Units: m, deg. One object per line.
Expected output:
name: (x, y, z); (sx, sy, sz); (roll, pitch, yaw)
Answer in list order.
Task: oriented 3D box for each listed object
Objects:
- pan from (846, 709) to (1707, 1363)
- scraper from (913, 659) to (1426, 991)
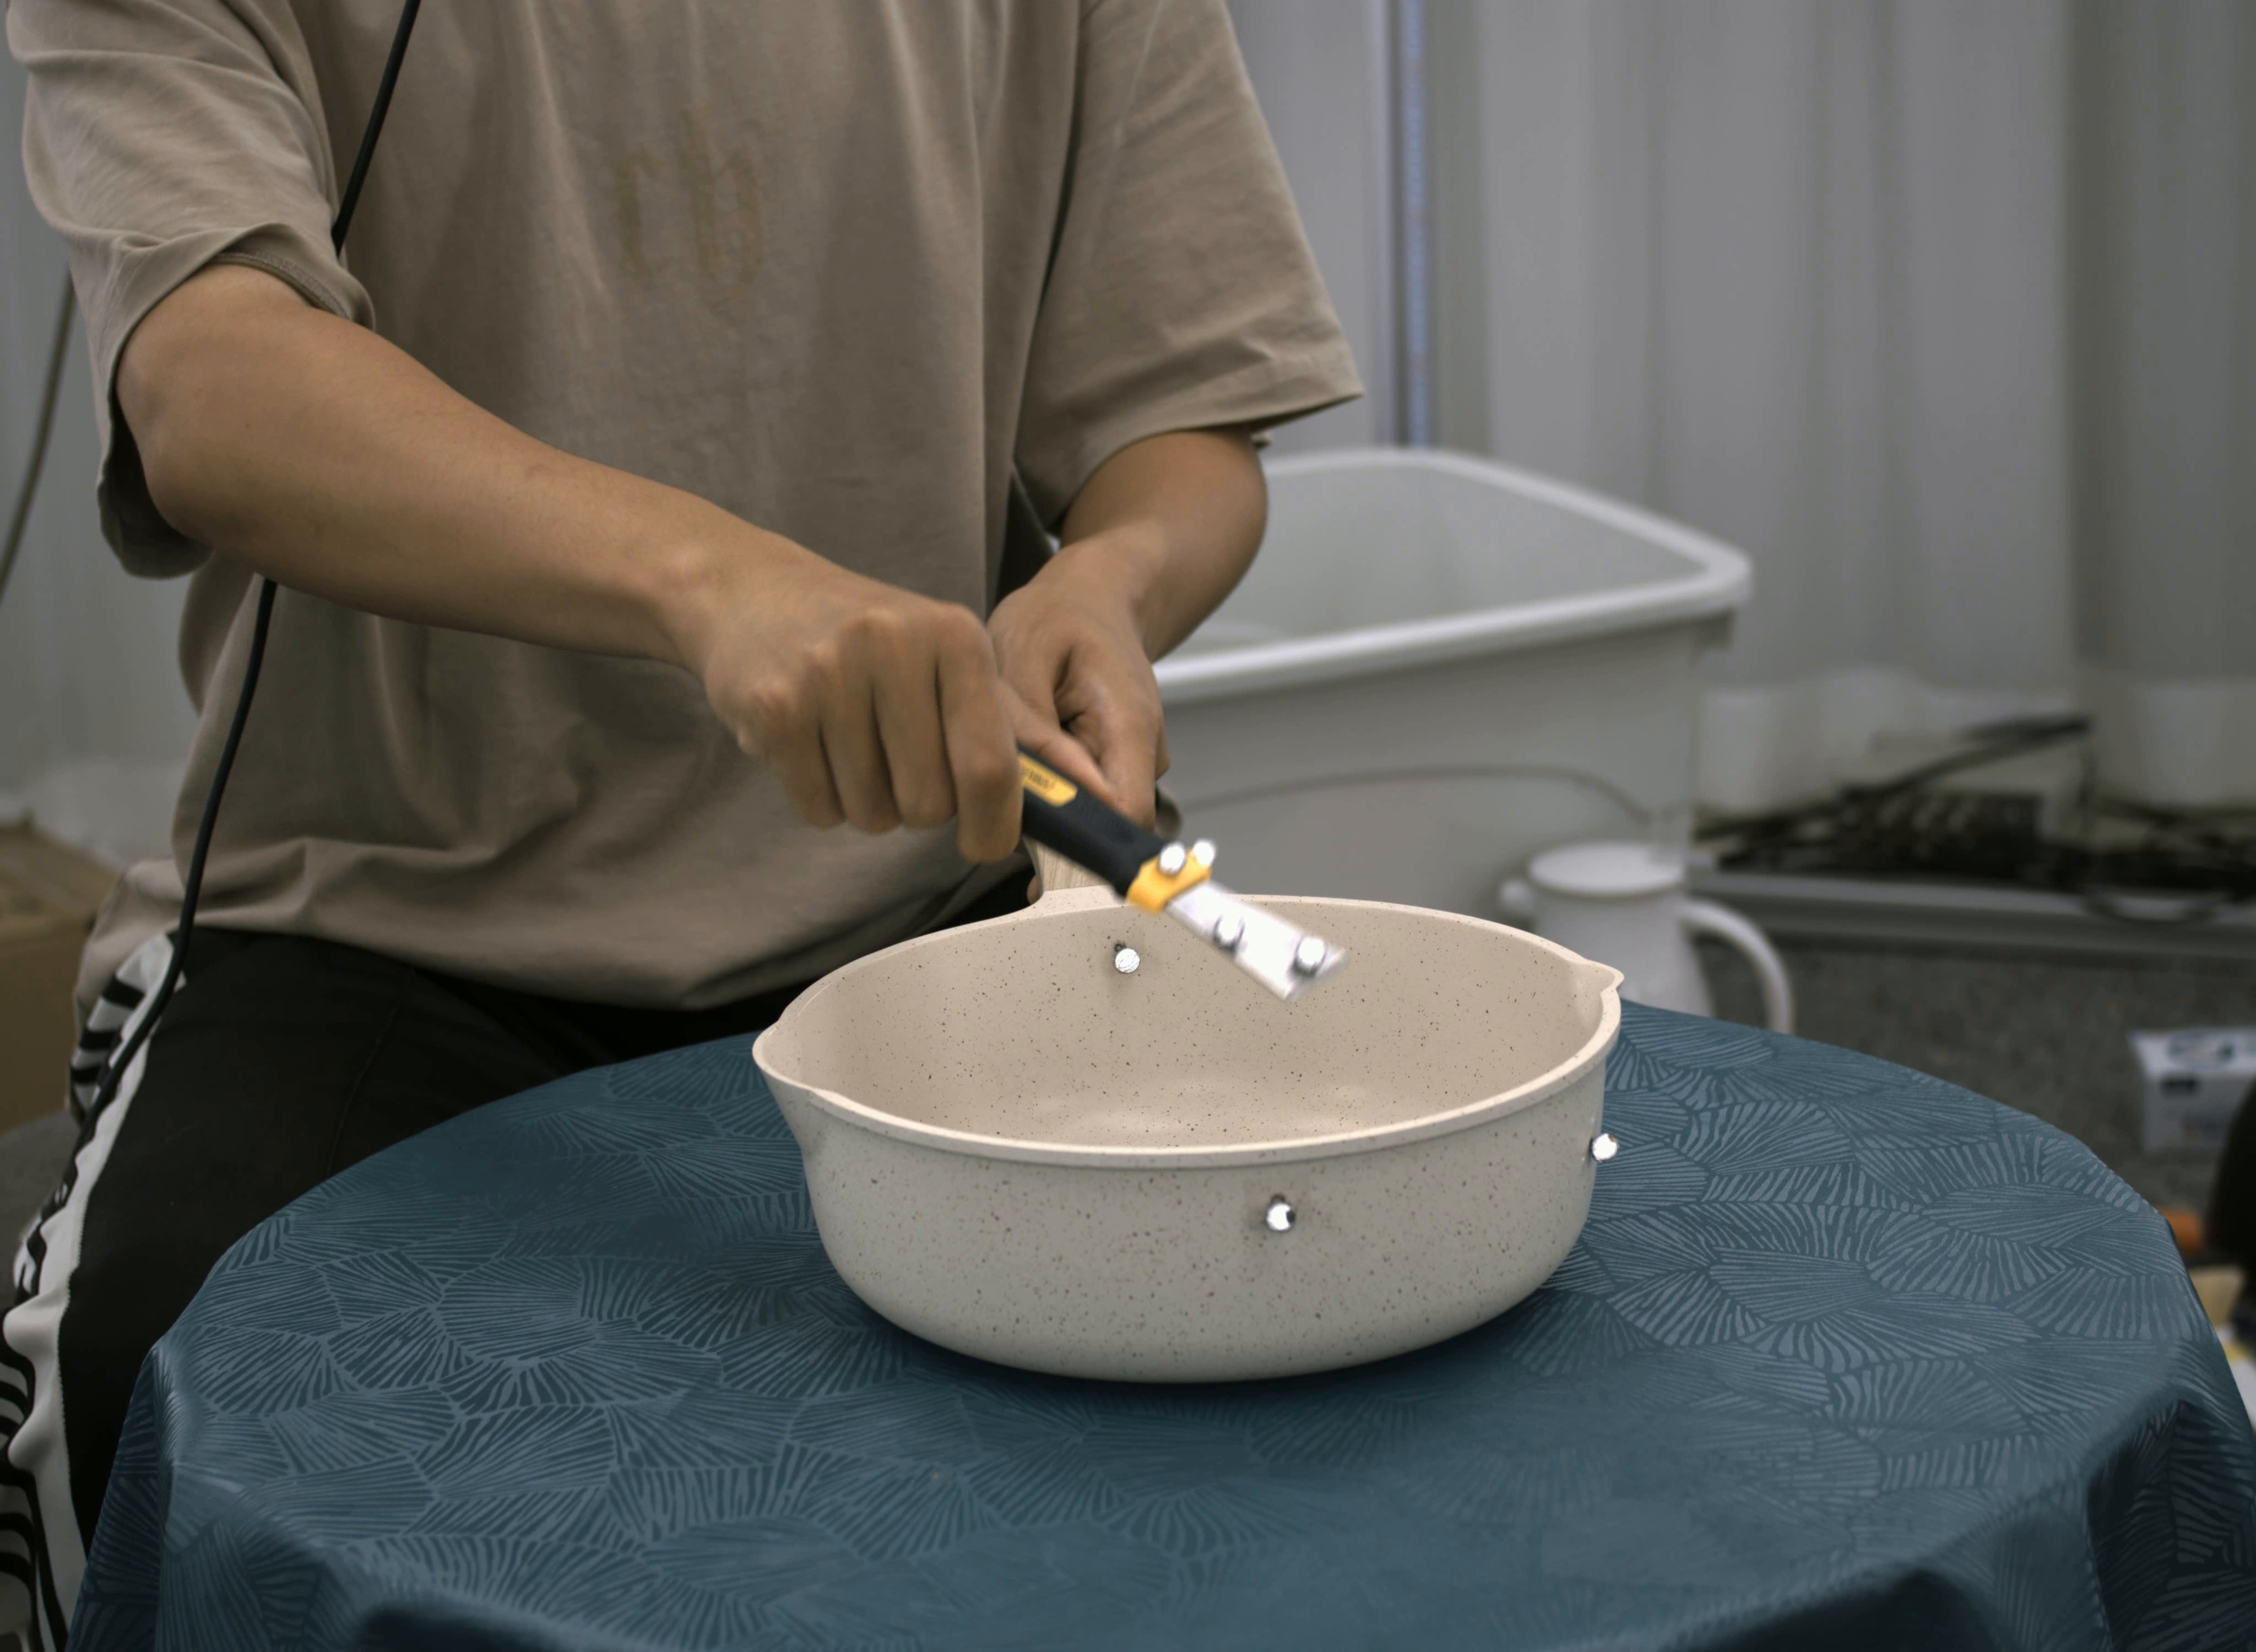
pan: (0.030, 0.060, 1.718); (0.262, 0.101, 0.438); (-8, 15, -10)
scraper: (0.008, -0.002, 1.592); (0.172, 0.015, 0.039); (32, 39, 19)
